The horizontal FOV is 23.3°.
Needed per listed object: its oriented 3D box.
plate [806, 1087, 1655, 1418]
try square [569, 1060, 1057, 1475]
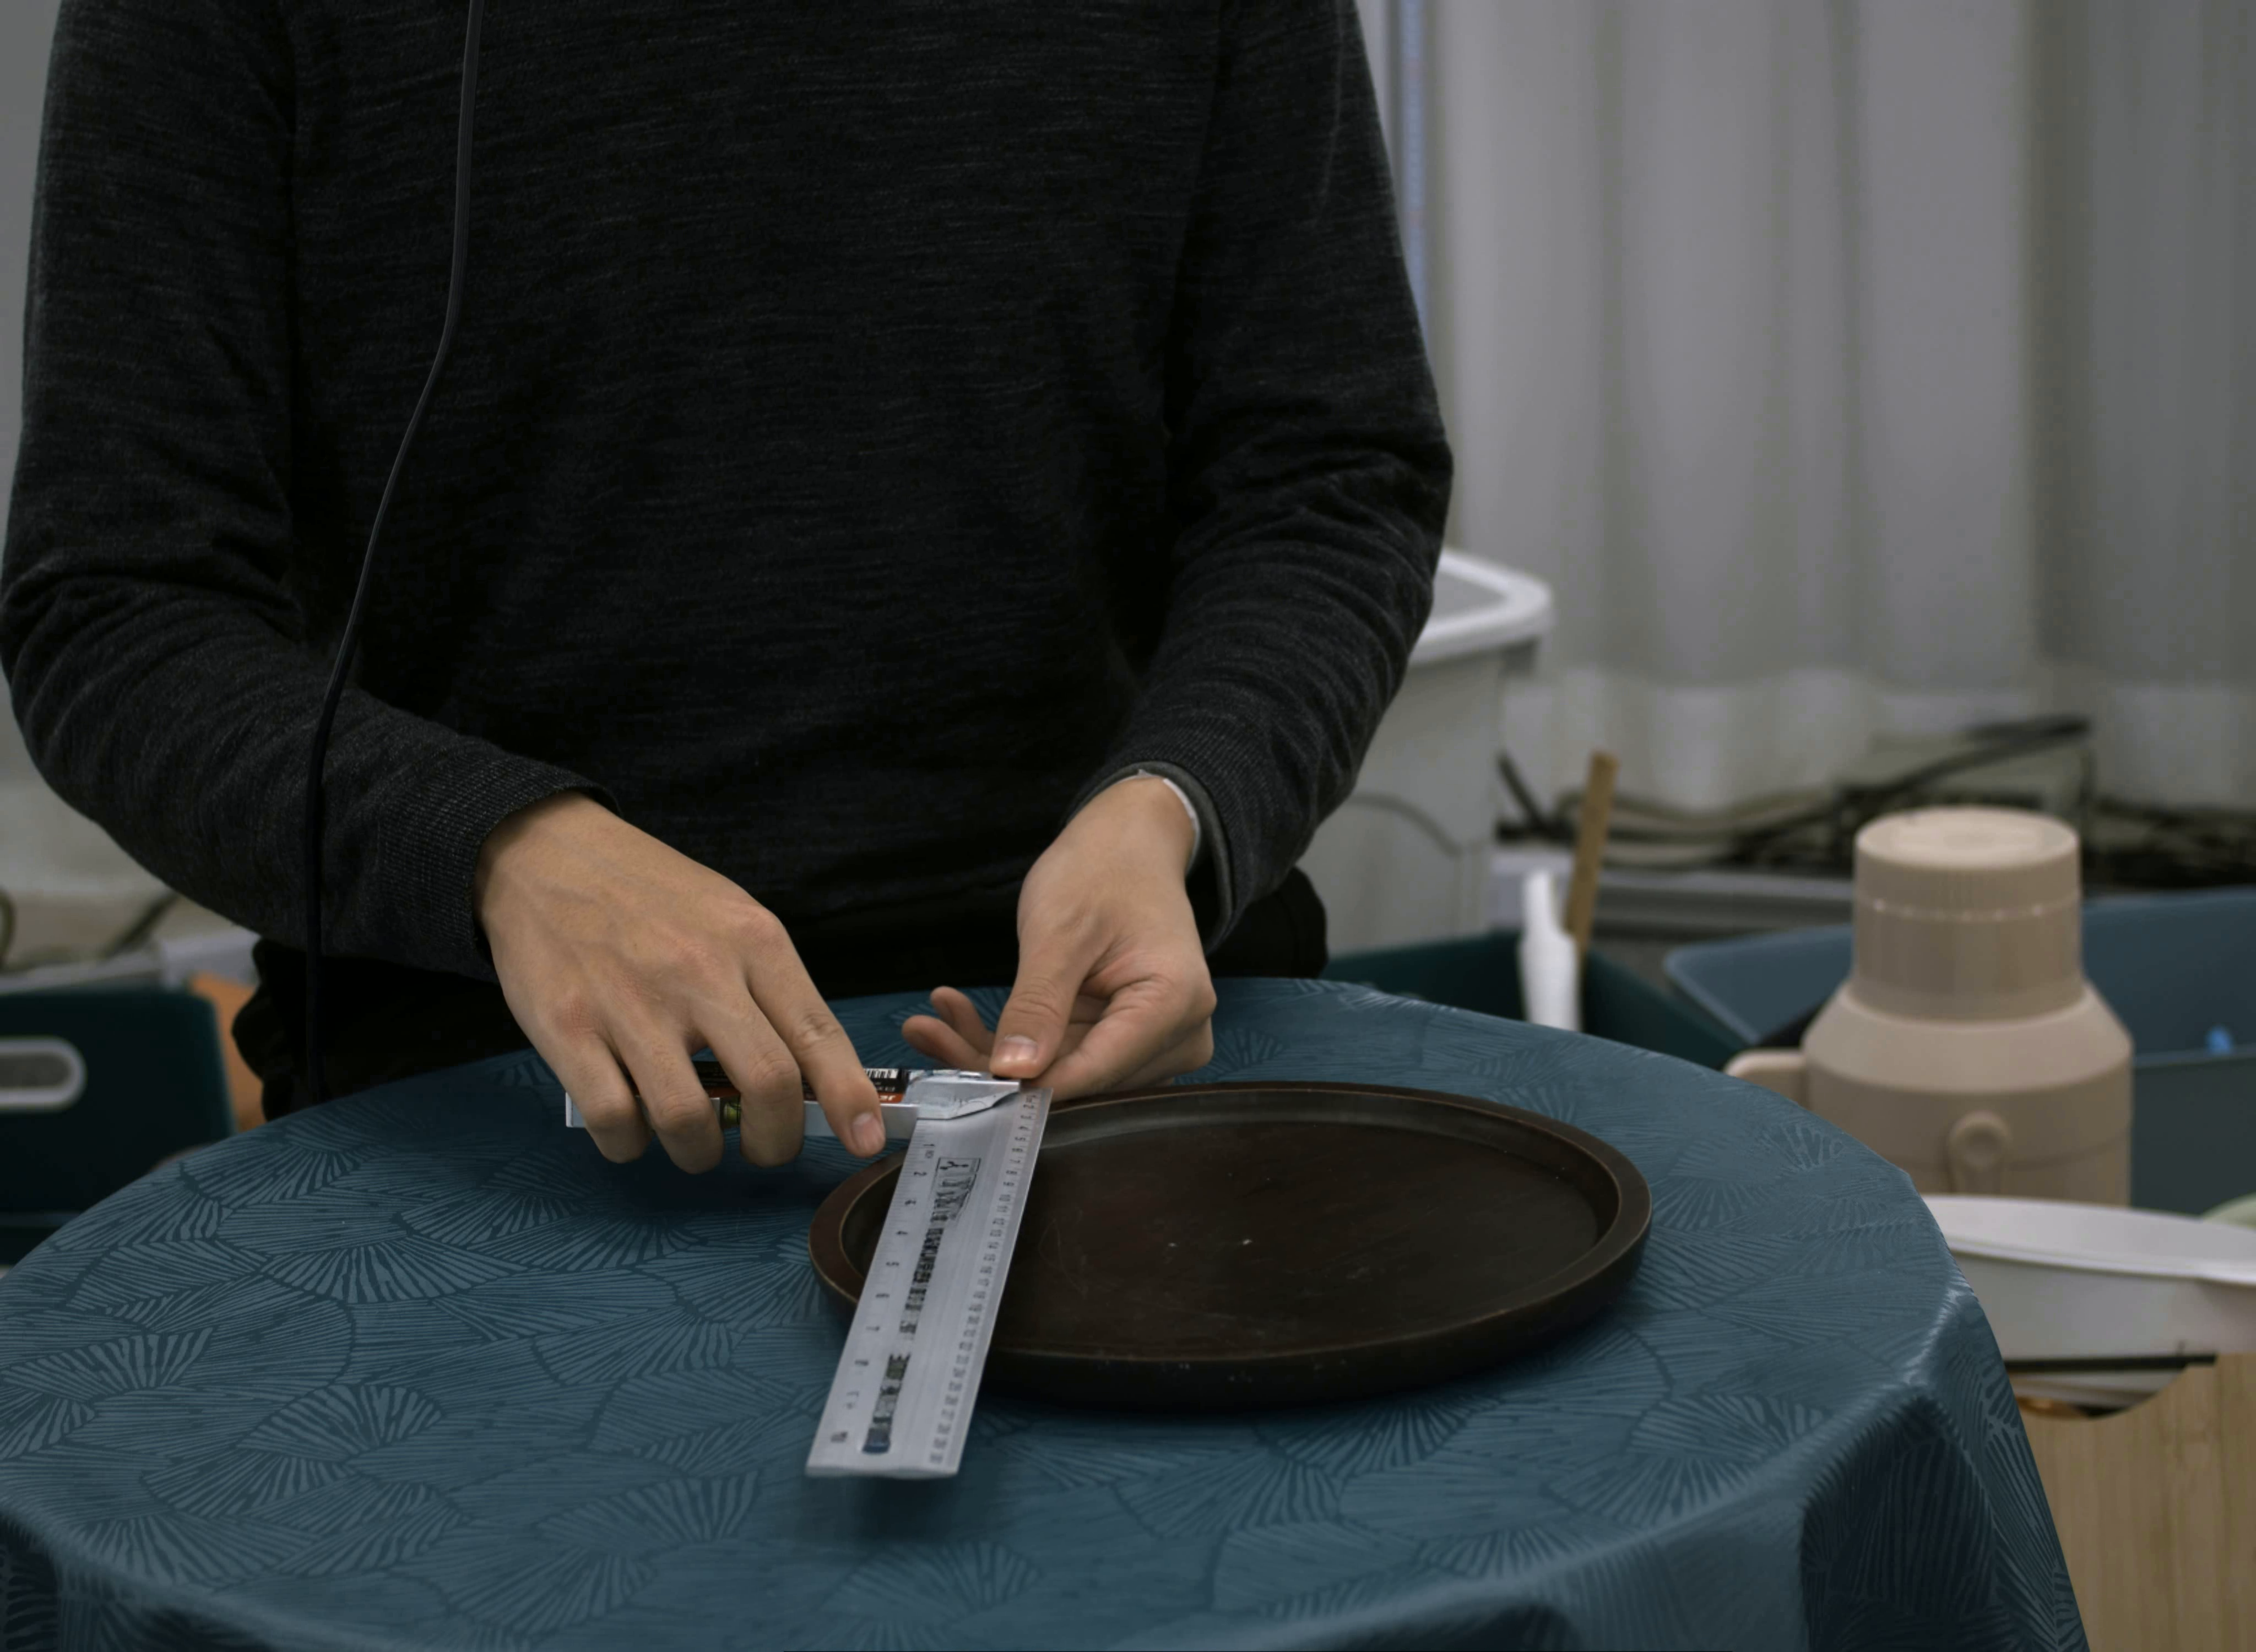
[{"bbox_3d":[0.030,0.124,1.627,0.254,0.029,0.256,-3,16,1],"label":"plate"},{"bbox_3d":[-0.108,0.124,1.591,0.152,0.016,0.315,2,16,4],"label":"try square"}]
